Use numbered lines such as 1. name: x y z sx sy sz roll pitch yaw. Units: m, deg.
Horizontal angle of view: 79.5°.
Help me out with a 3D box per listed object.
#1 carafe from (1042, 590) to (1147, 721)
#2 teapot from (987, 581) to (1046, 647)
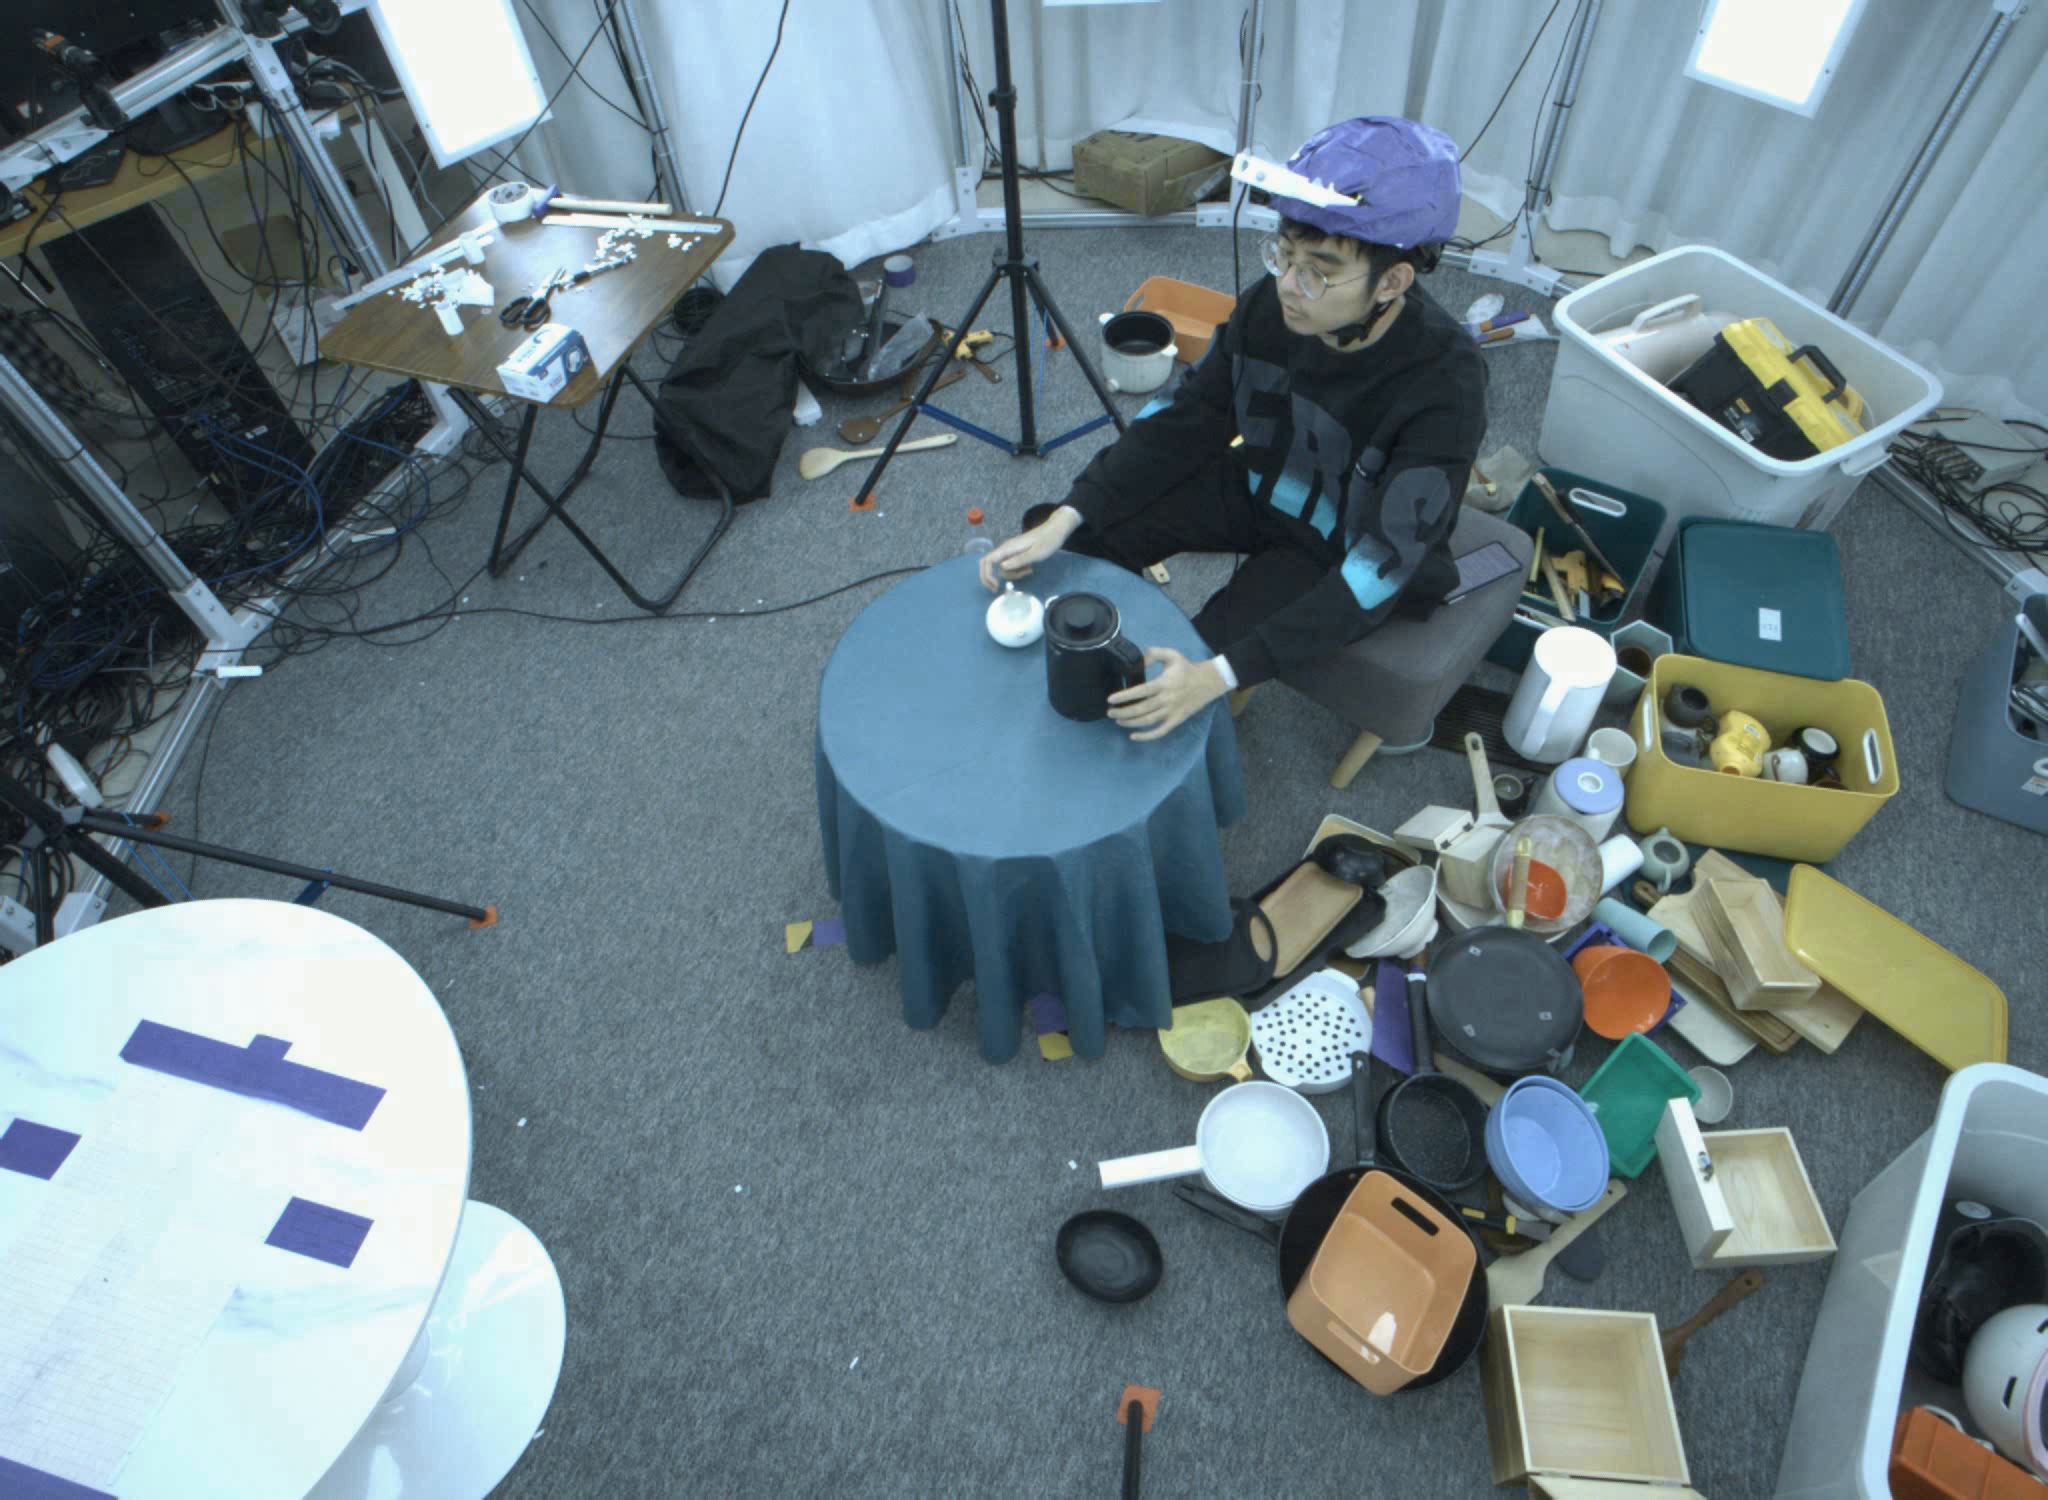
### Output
1. carafe: 0.102 -0.127 1.764 0.168 0.175 0.115 33 61 27
2. teapot: -0.015 -0.210 1.900 0.094 0.057 0.125 -17 55 -5
